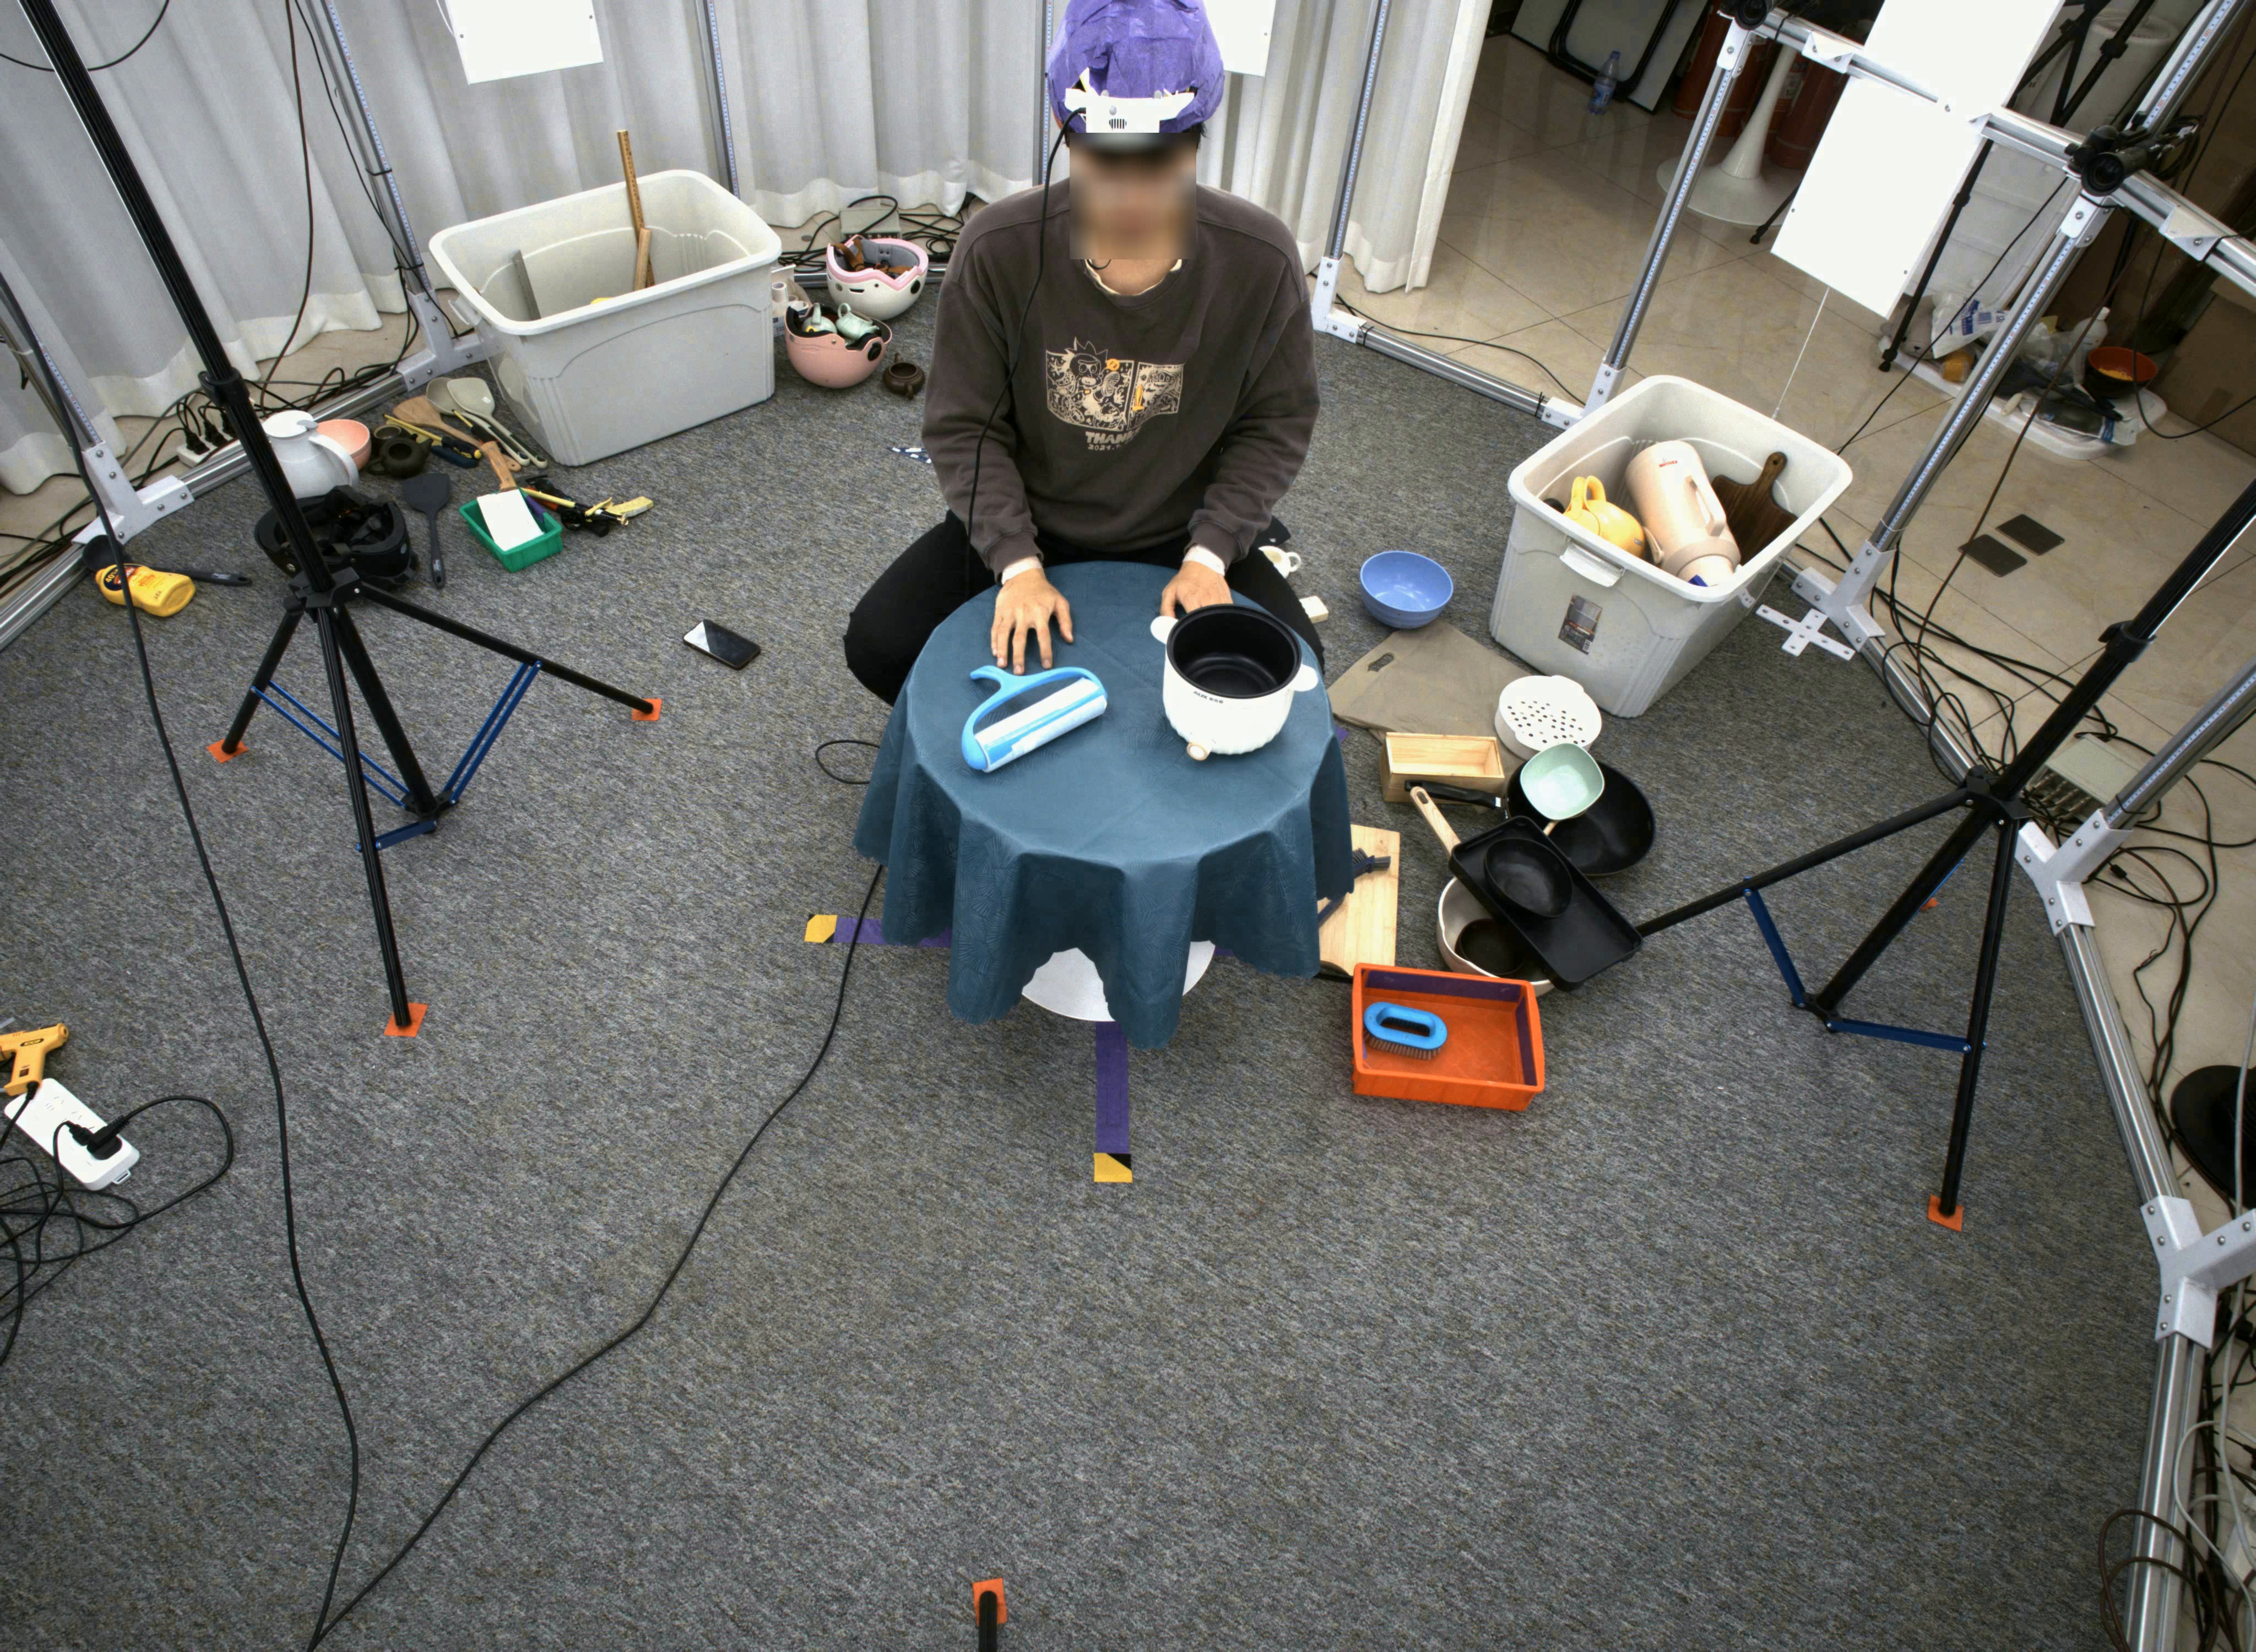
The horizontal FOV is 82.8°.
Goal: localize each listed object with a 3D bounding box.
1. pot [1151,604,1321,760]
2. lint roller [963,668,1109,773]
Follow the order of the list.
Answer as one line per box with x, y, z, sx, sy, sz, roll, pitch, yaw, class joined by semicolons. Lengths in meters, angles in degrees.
0.137;-0.190;1.749;0.242;0.139;0.194;20;48;15;pot
-0.159;-0.175;1.771;0.230;0.066;0.183;-32;59;-26;lint roller
